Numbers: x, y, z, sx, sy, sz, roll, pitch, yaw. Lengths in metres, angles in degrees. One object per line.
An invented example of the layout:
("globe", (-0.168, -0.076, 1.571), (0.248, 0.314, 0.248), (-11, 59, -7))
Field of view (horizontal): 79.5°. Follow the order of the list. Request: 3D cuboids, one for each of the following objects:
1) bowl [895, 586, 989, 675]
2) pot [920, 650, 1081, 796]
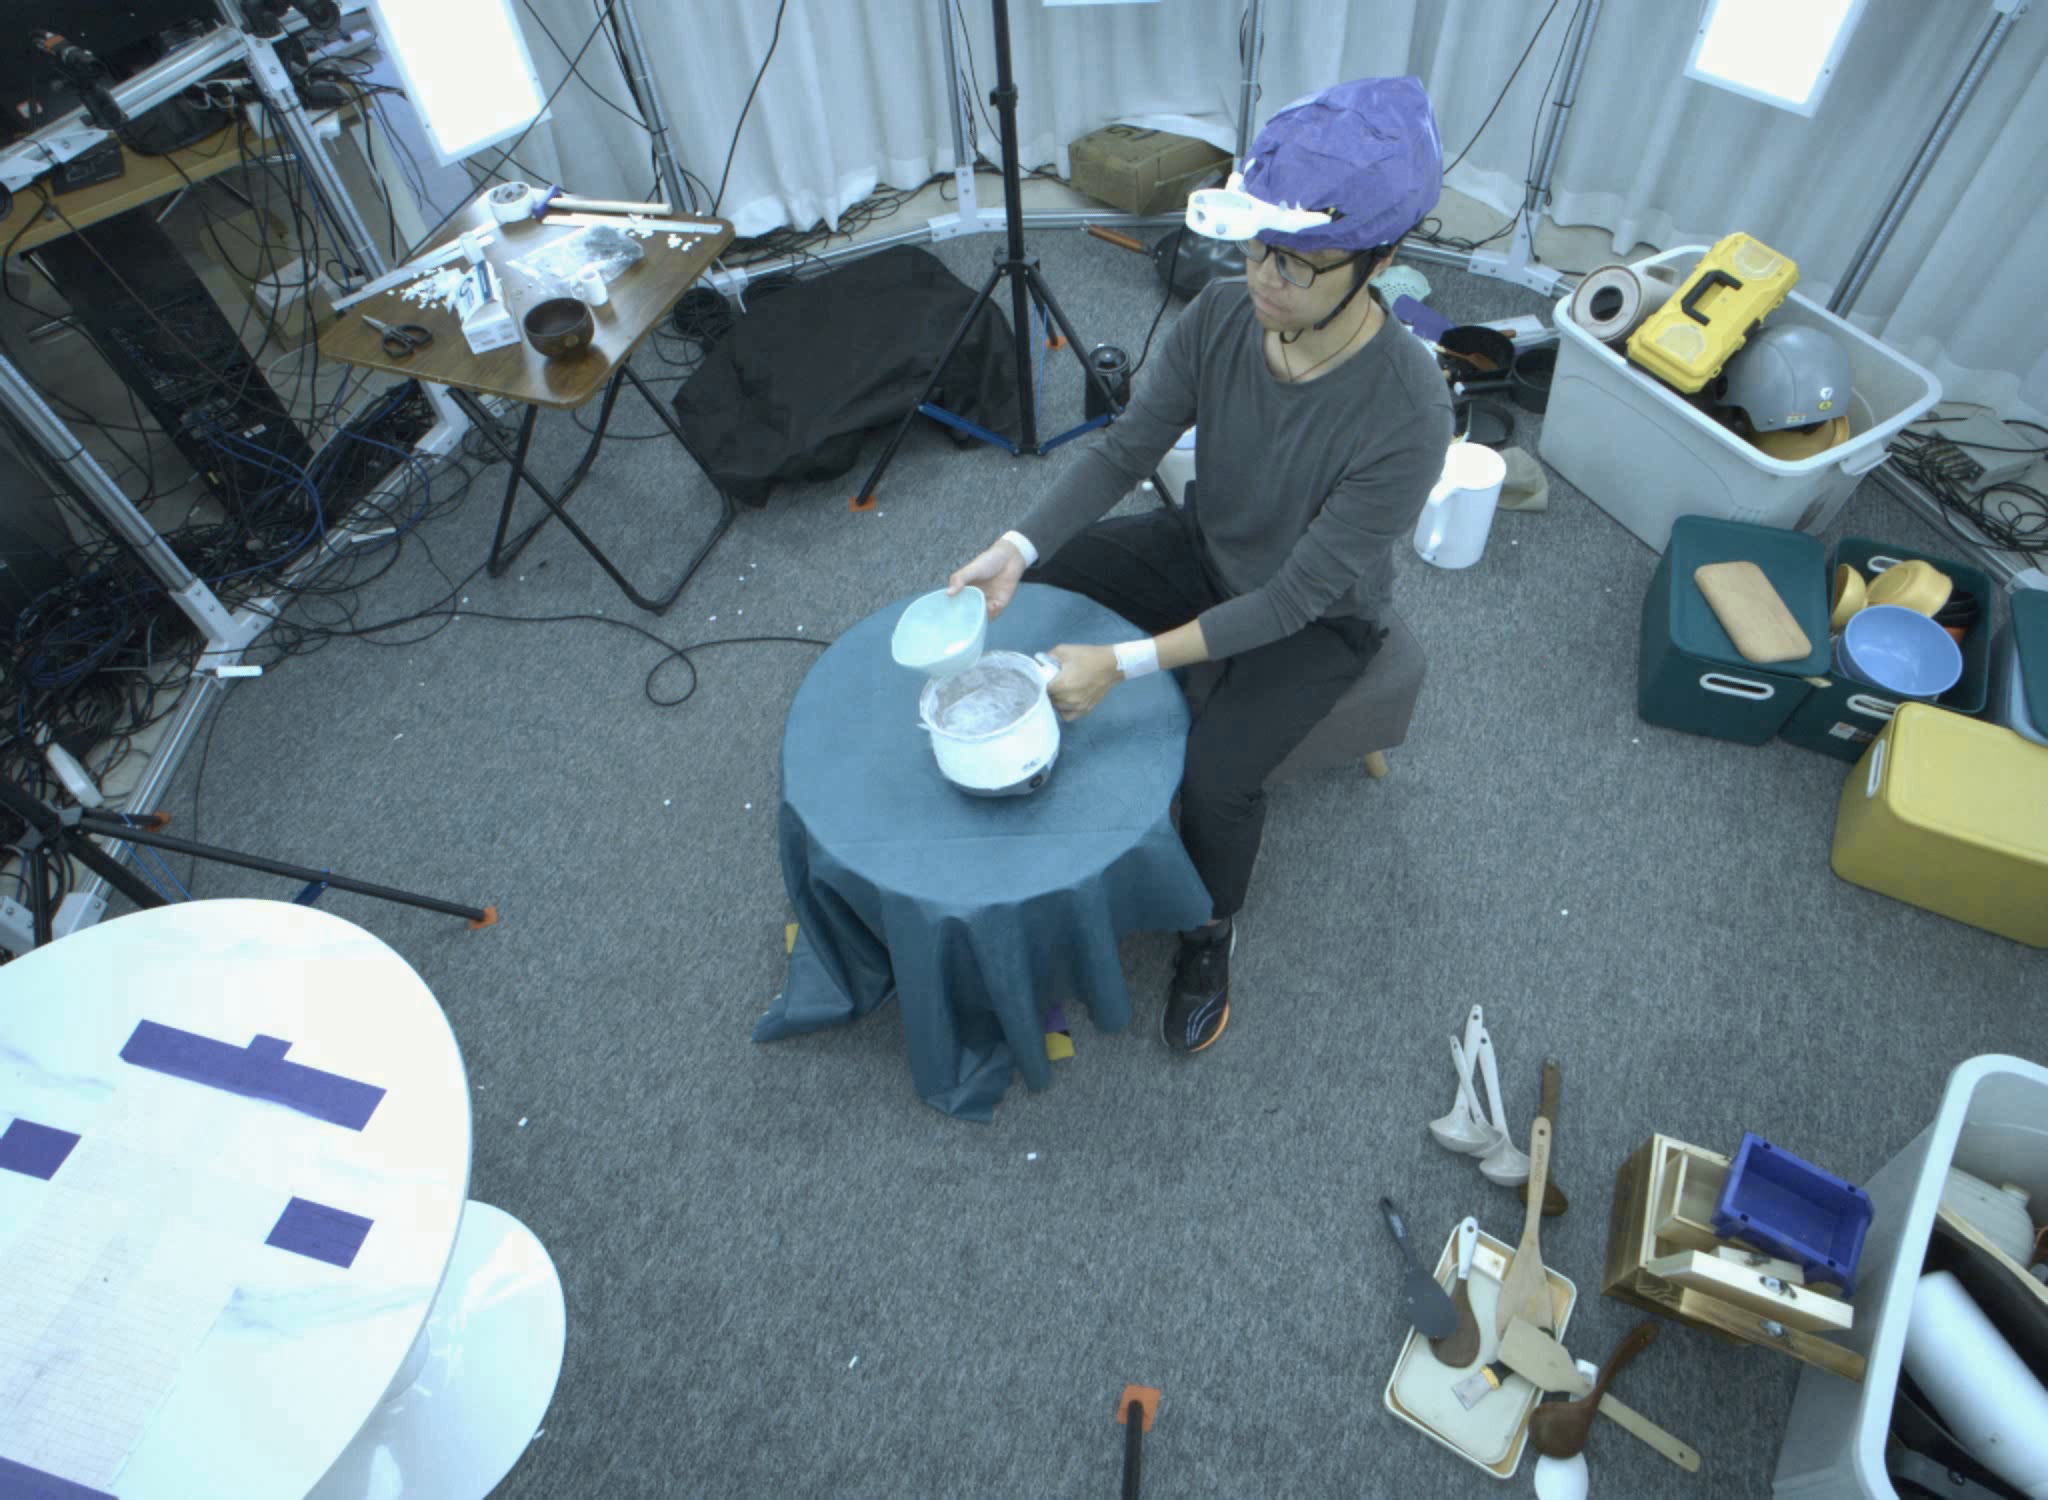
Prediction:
("bowl", (-0.104, -0.155, 1.692), (0.150, 0.060, 0.150), (-14, 50, 18))
("pot", (-0.023, -0.049, 1.733), (0.235, 0.138, 0.174), (-35, 48, -21))
